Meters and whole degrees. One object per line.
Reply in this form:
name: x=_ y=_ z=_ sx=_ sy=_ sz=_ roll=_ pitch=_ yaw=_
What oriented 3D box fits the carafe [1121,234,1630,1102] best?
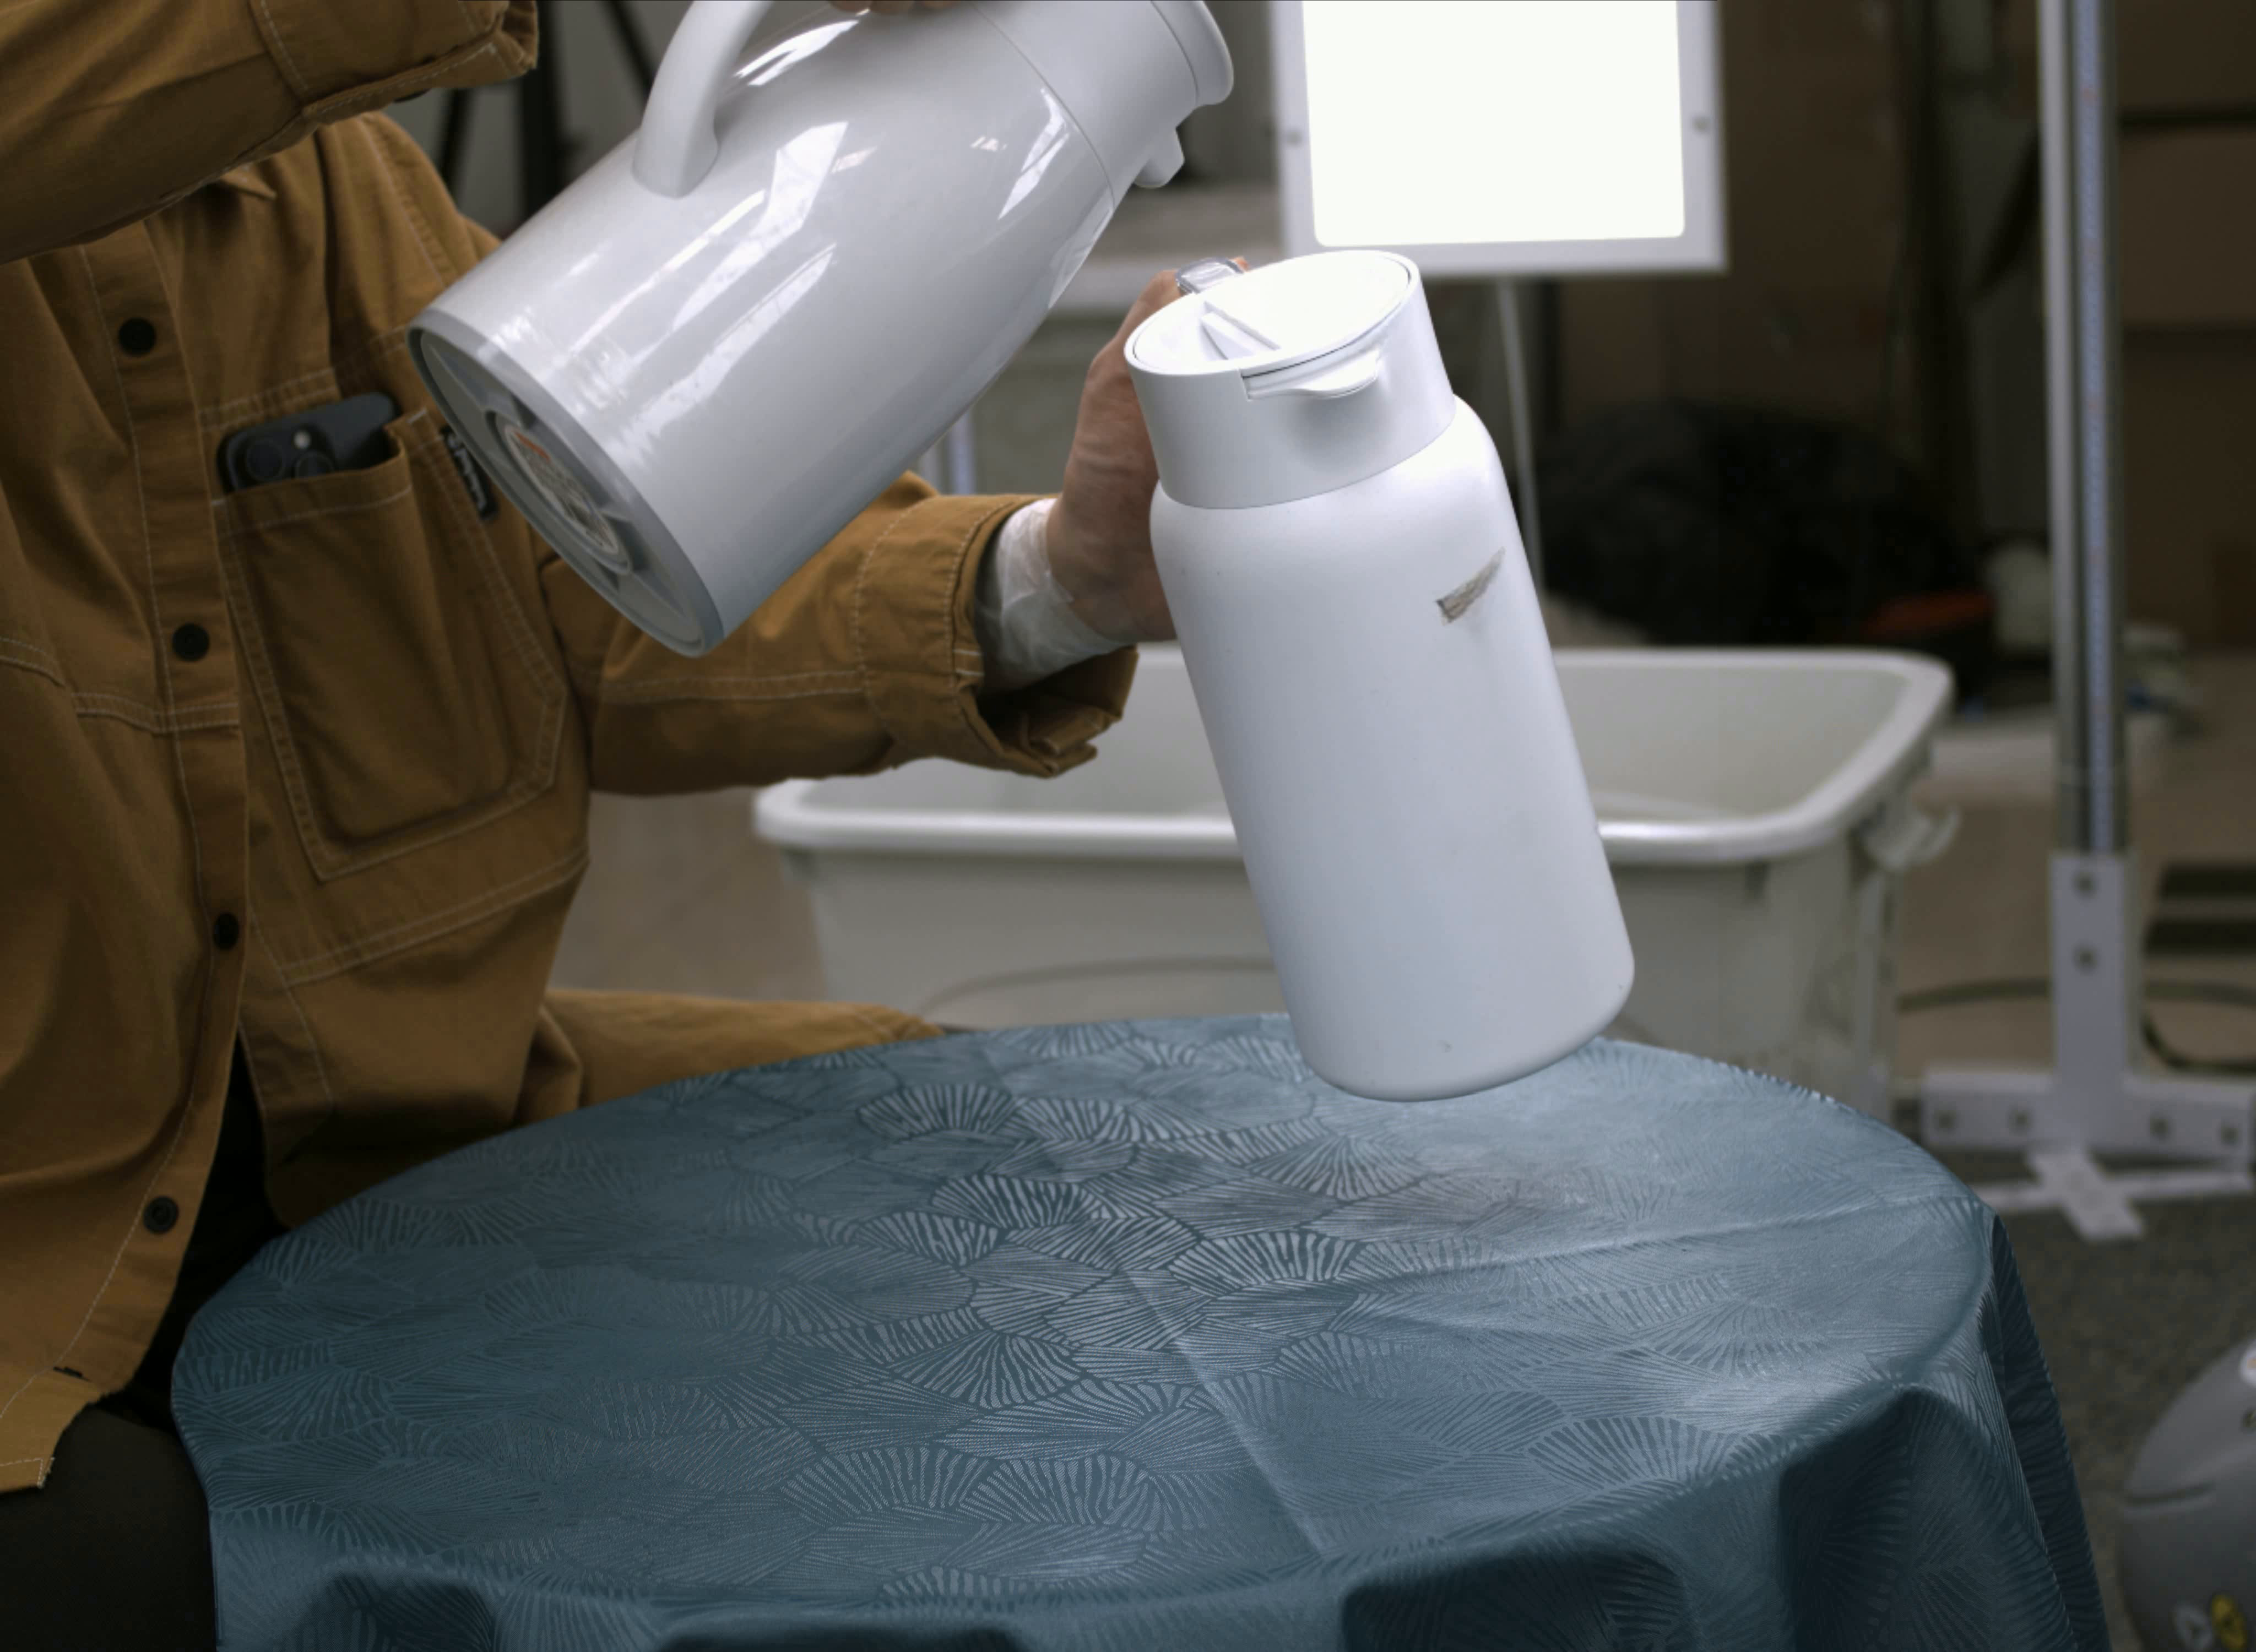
carafe: x=0.073 y=-0.054 z=1.817 sx=0.122 sy=0.268 sz=0.175 roll=-24 pitch=23 yaw=-11

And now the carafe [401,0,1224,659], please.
carafe: x=-0.089 y=-0.192 z=1.646 sx=0.247 sy=0.166 sz=0.134 roll=-44 pitch=47 yaw=-10
